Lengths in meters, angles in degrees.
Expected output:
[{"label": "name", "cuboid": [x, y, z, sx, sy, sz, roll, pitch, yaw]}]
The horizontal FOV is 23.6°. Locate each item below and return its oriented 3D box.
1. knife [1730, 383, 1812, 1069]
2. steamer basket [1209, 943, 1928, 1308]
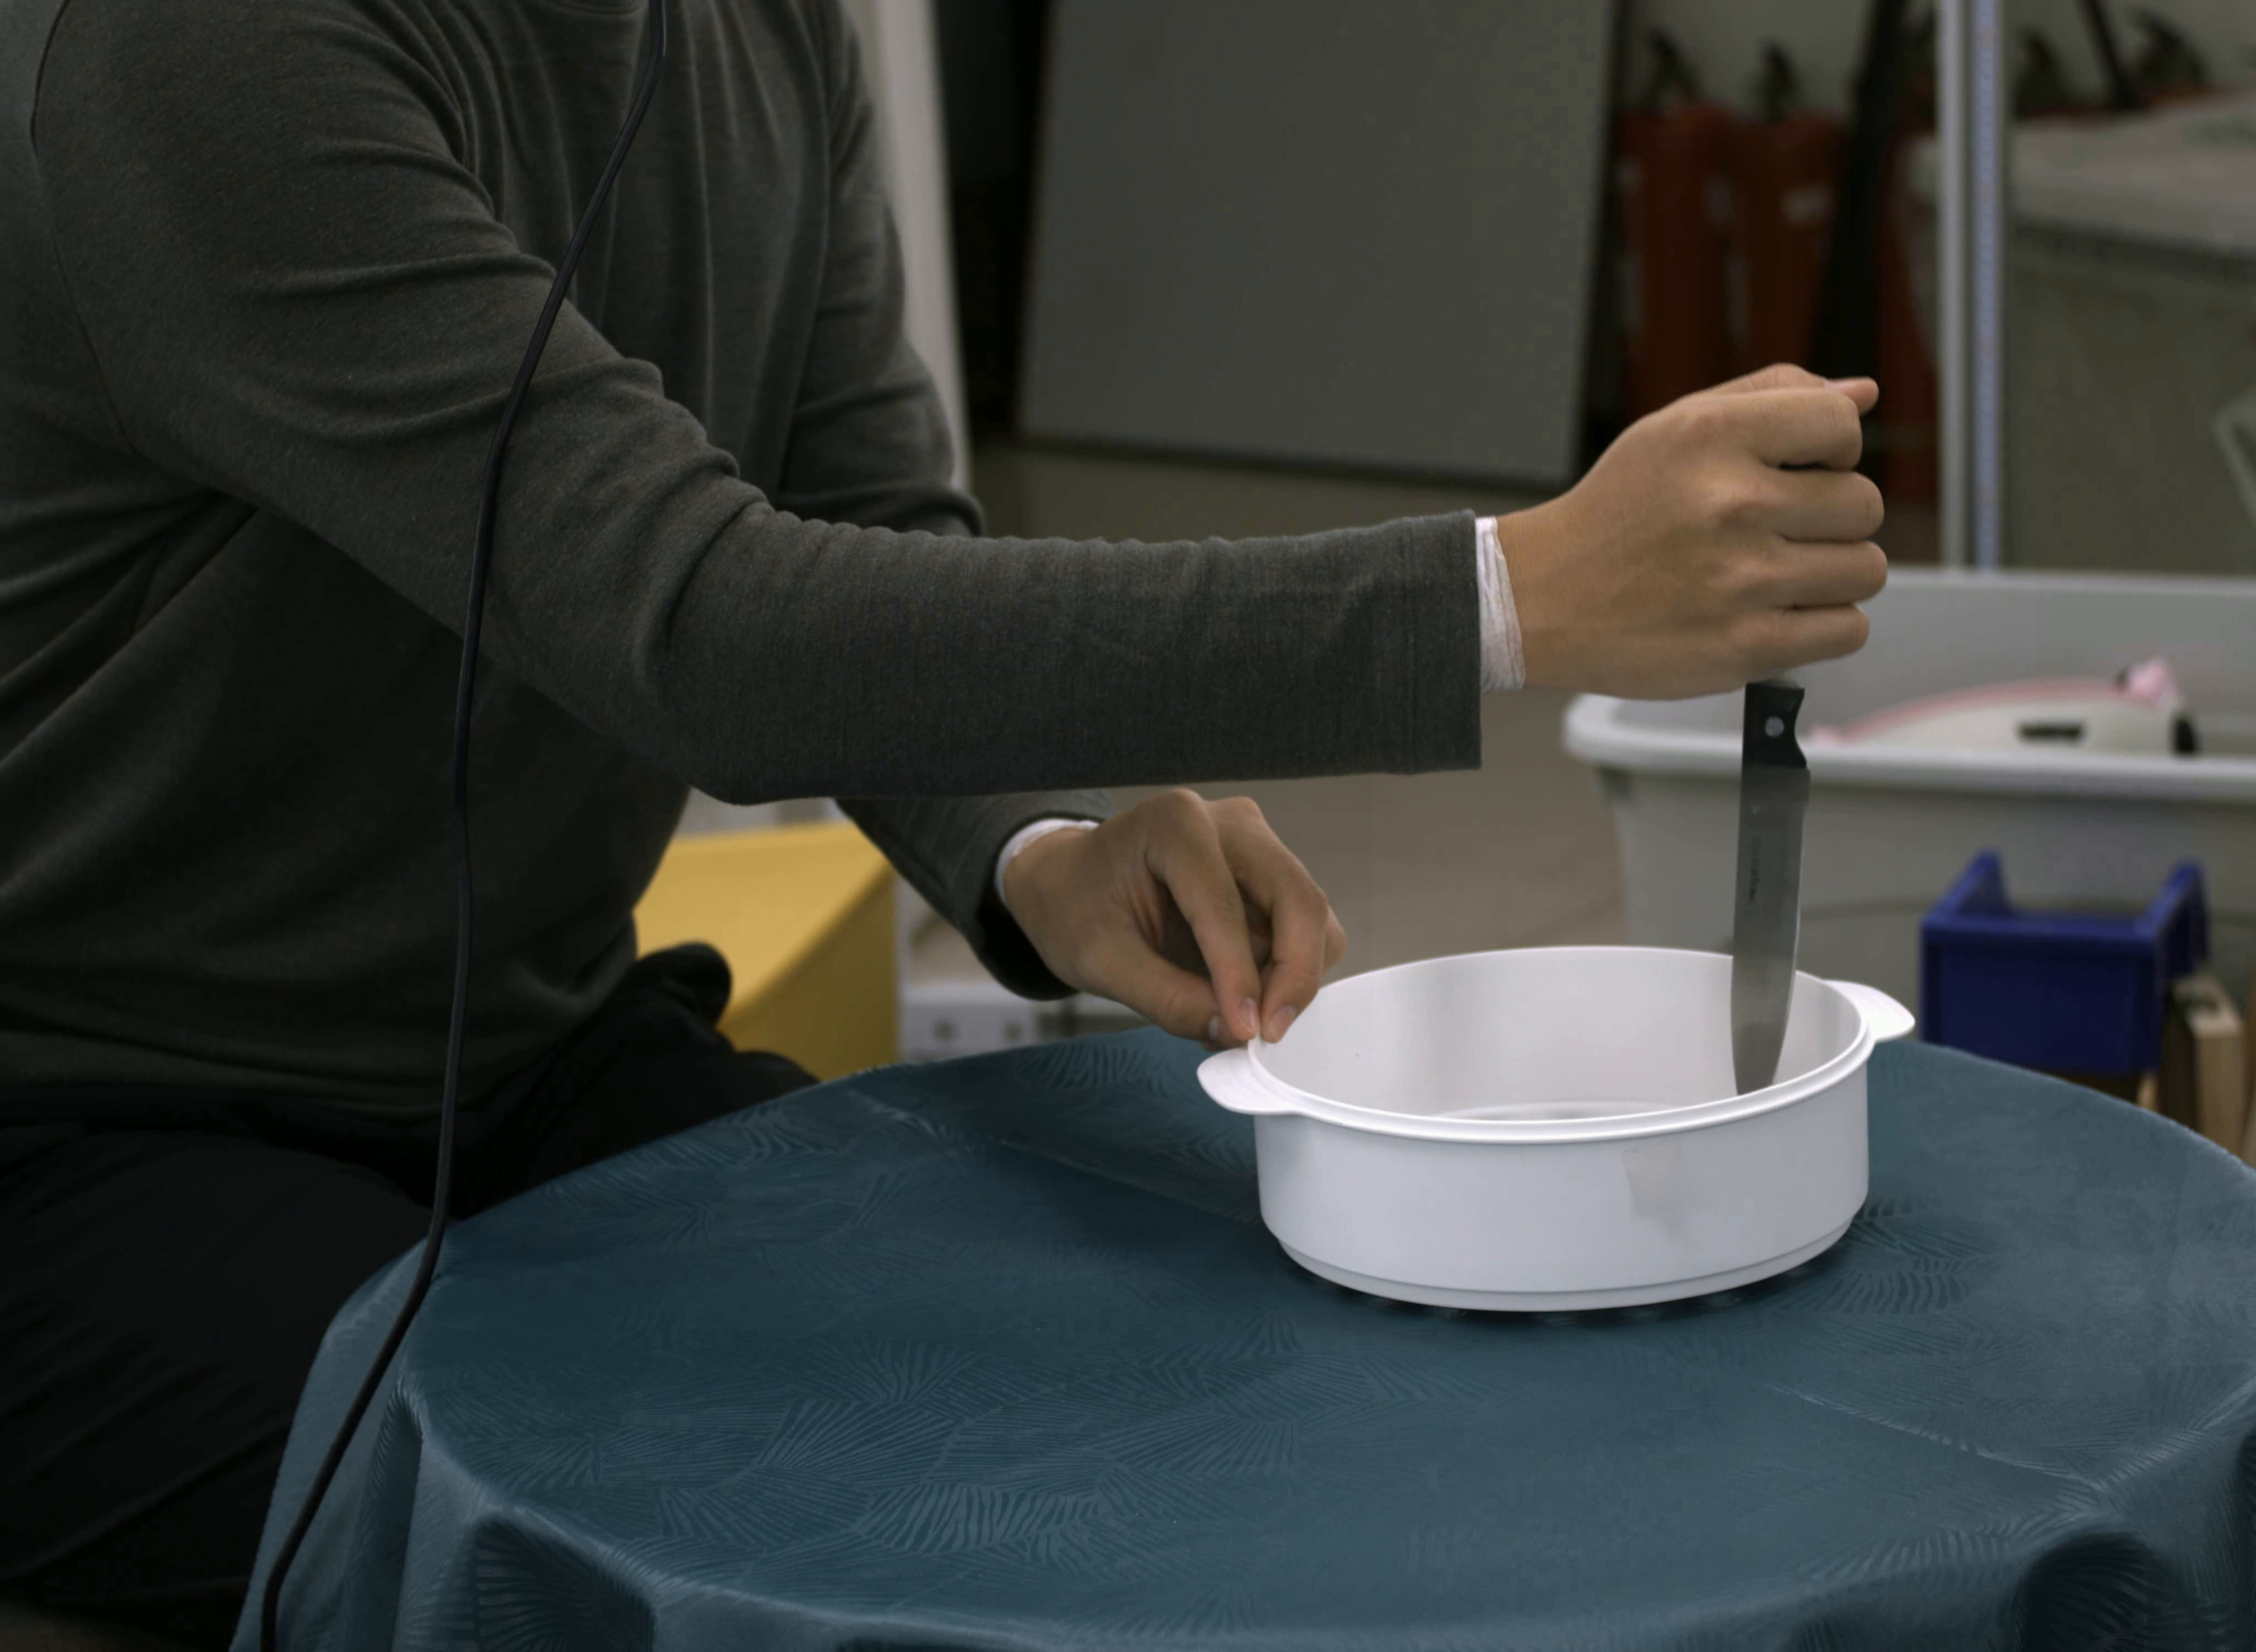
[{"label": "knife", "cuboid": [0.199, -0.017, 1.674, 0.024, 0.241, 0.016, 0, 13, 0]}, {"label": "steamer basket", "cuboid": [0.141, 0.094, 1.698, 0.226, 0.070, 0.203, -7, 13, -9]}]
